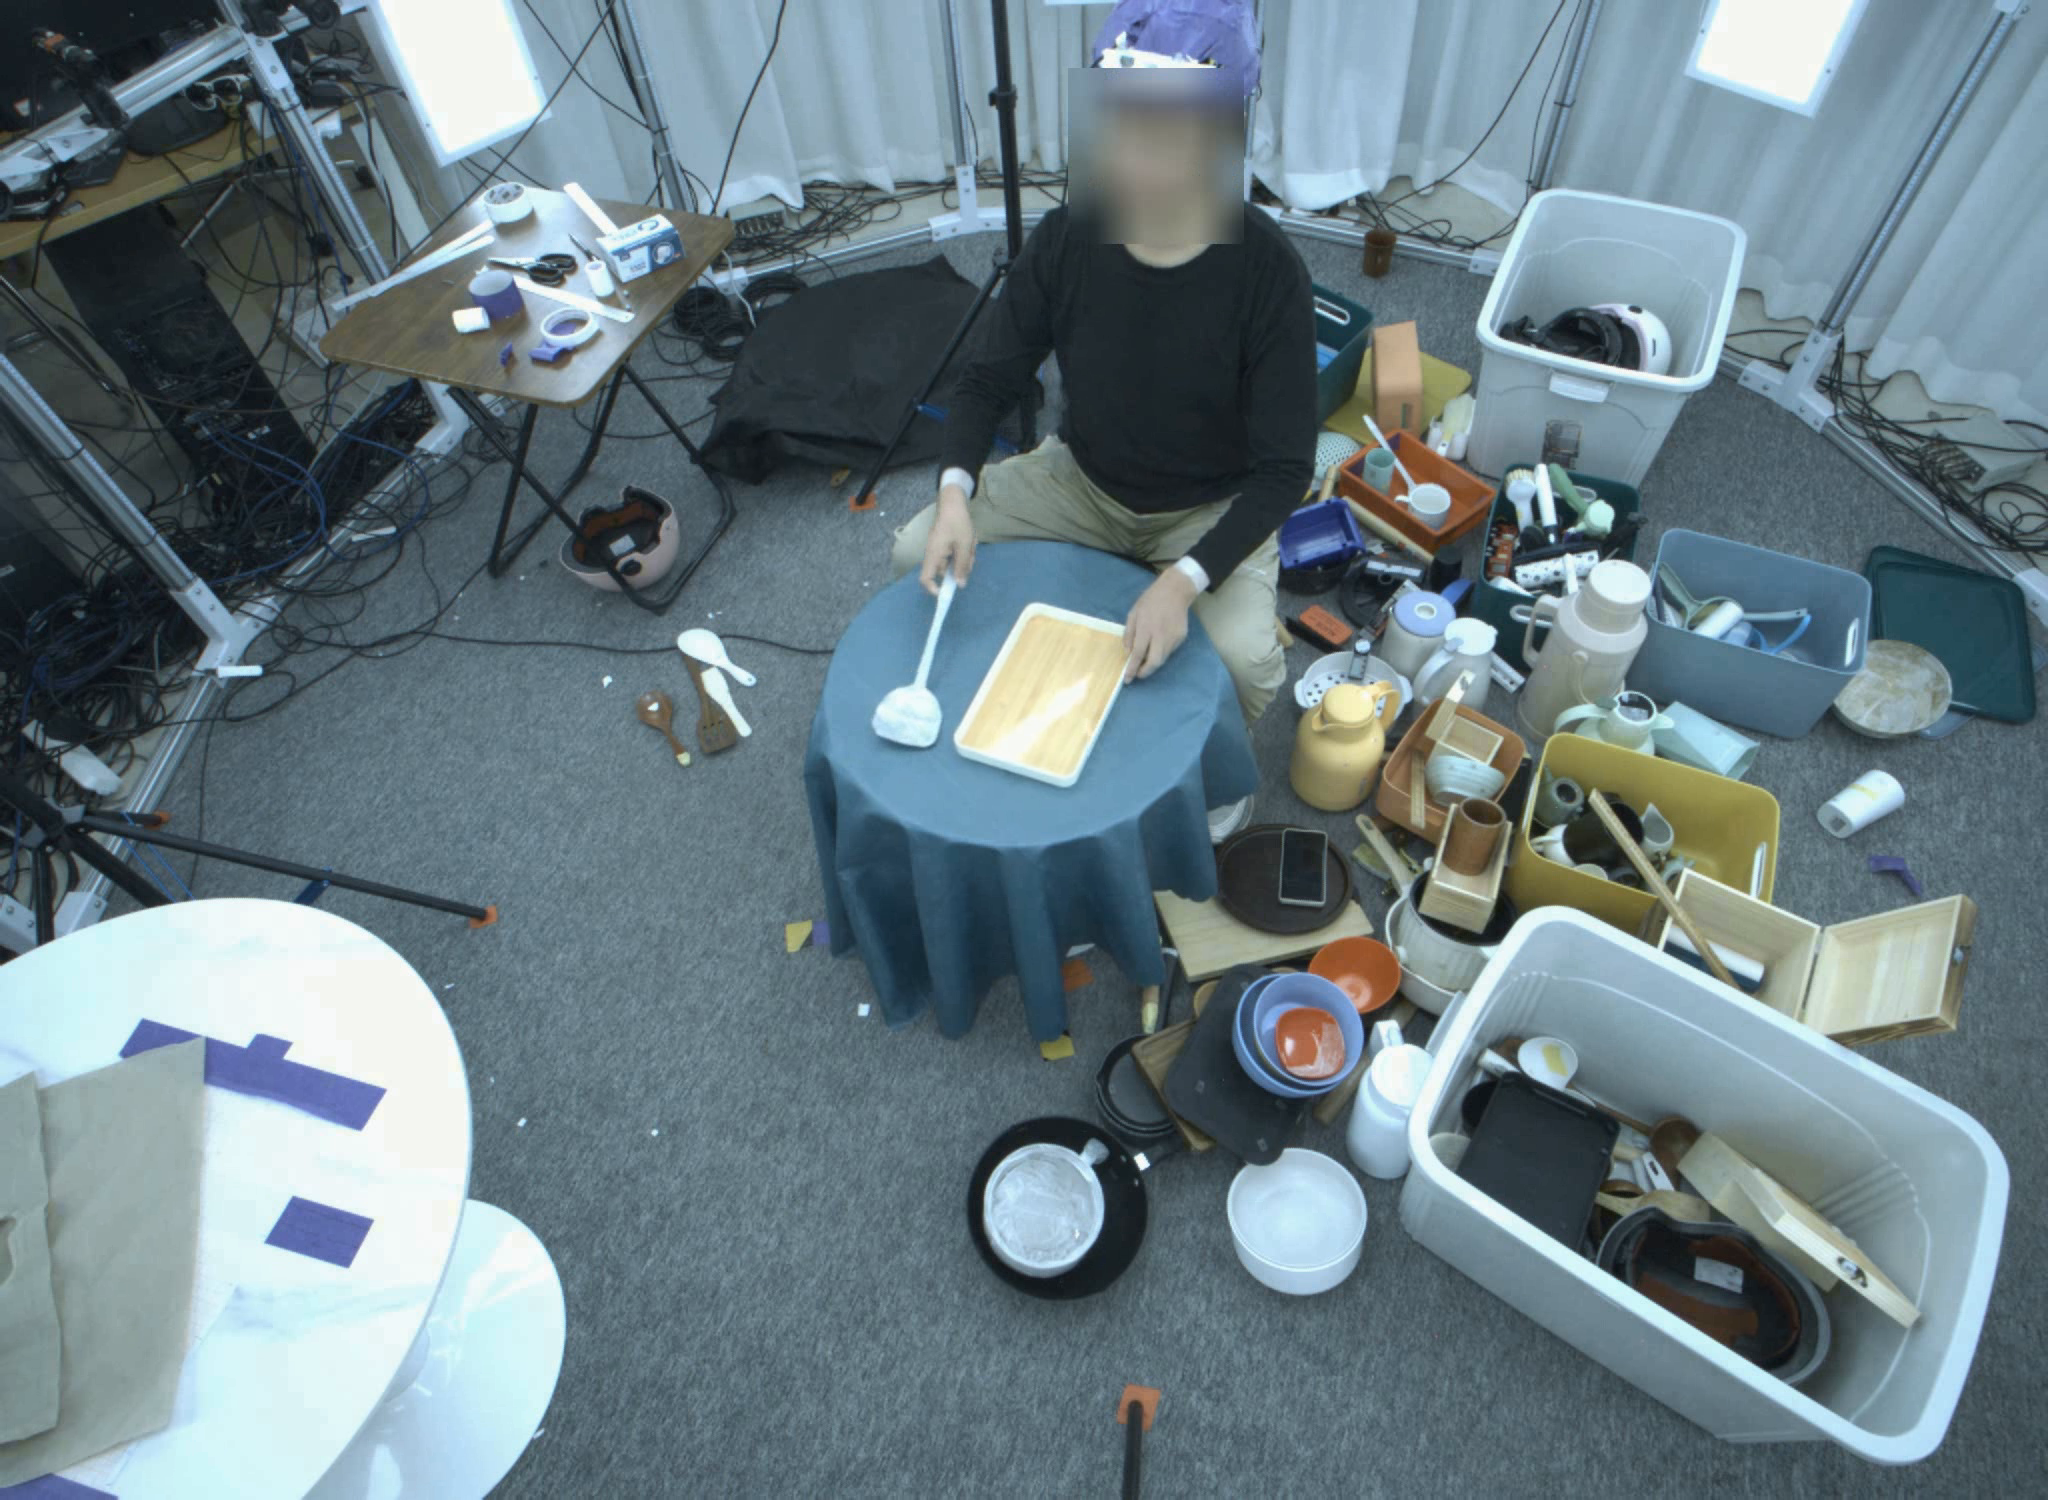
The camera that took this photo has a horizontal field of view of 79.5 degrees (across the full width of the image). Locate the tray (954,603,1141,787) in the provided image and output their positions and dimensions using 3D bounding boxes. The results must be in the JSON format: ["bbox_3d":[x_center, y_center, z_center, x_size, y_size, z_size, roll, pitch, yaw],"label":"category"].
[{"bbox_3d":[0.039,-0.088,1.832,0.189,0.028,0.300,18,57,14],"label":"tray"}]

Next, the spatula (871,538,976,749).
[{"bbox_3d":[-0.134,-0.170,1.842,0.099,0.045,0.364,17,76,-2],"label":"spatula"}]
